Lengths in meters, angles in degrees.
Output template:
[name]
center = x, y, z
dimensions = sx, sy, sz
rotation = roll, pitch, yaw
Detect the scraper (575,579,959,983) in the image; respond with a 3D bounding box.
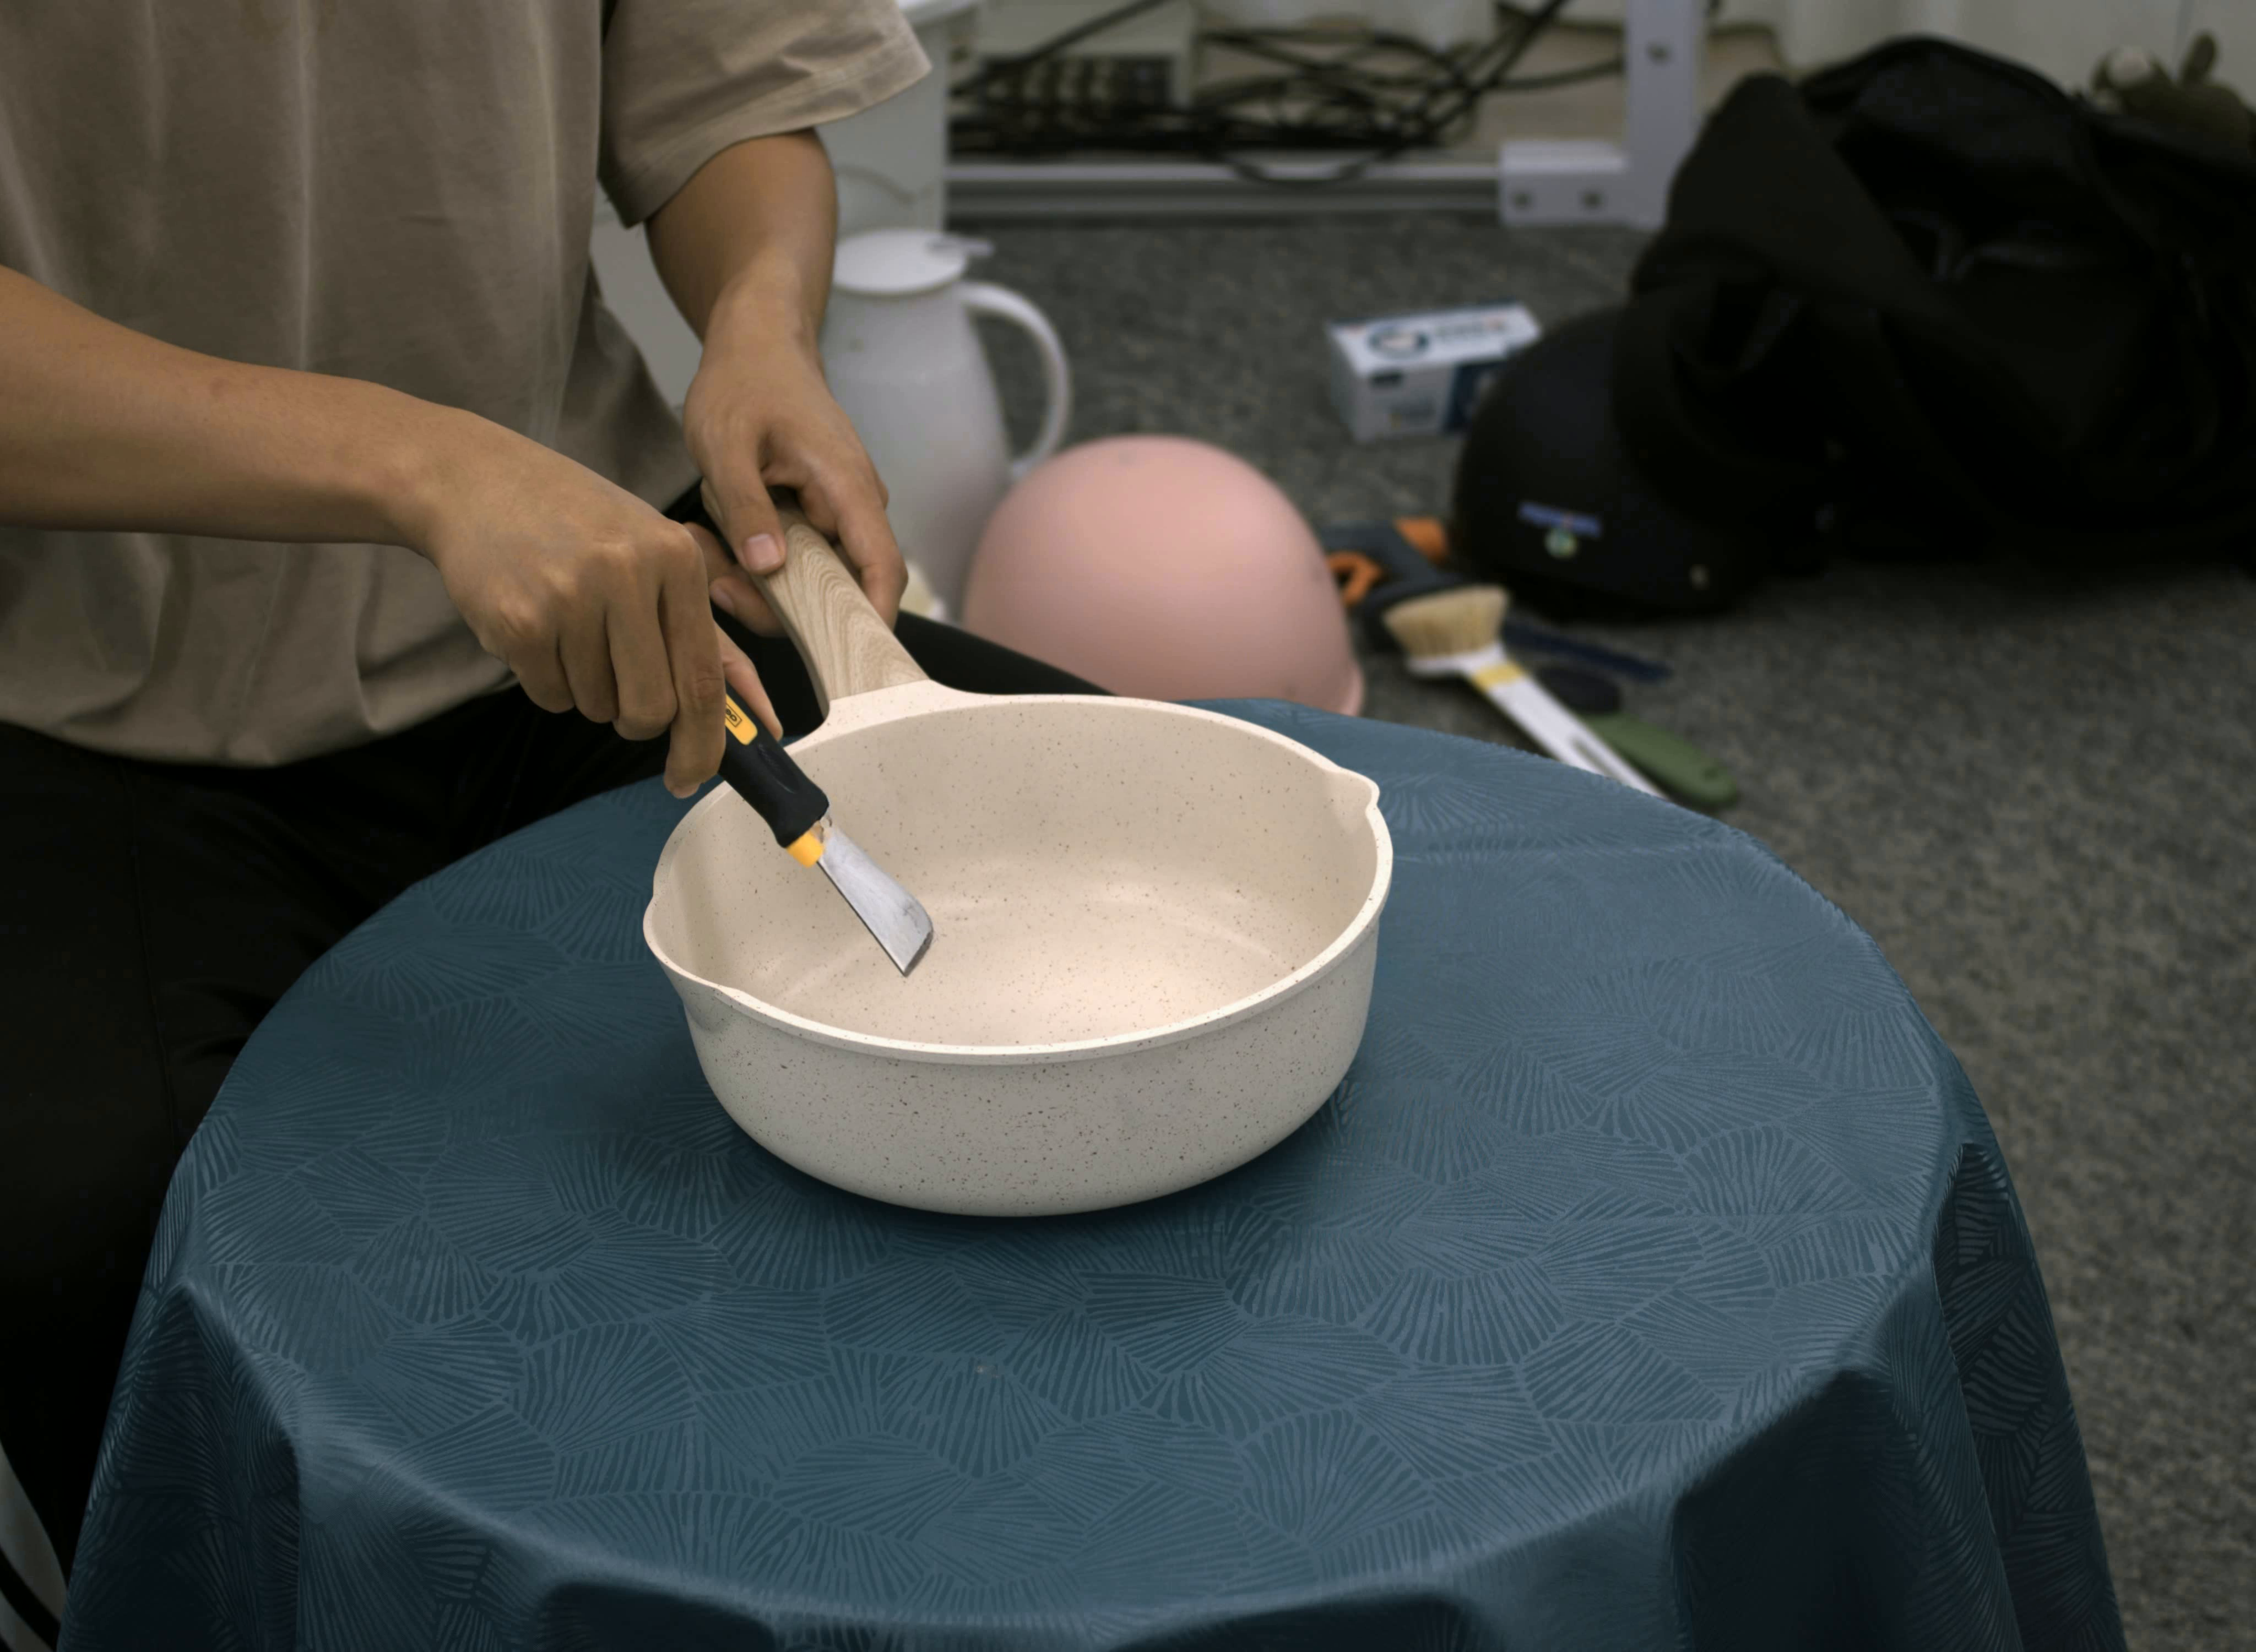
[scraper]
center = -0.123, -0.016, 1.887
dimensions = 0.014, 0.170, 0.039
rotation = -35, 12, 43

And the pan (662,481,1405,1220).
[pan]
center = -0.064, 0.003, 1.993
dimensions = 0.264, 0.101, 0.438
rotation = -15, 30, -18
